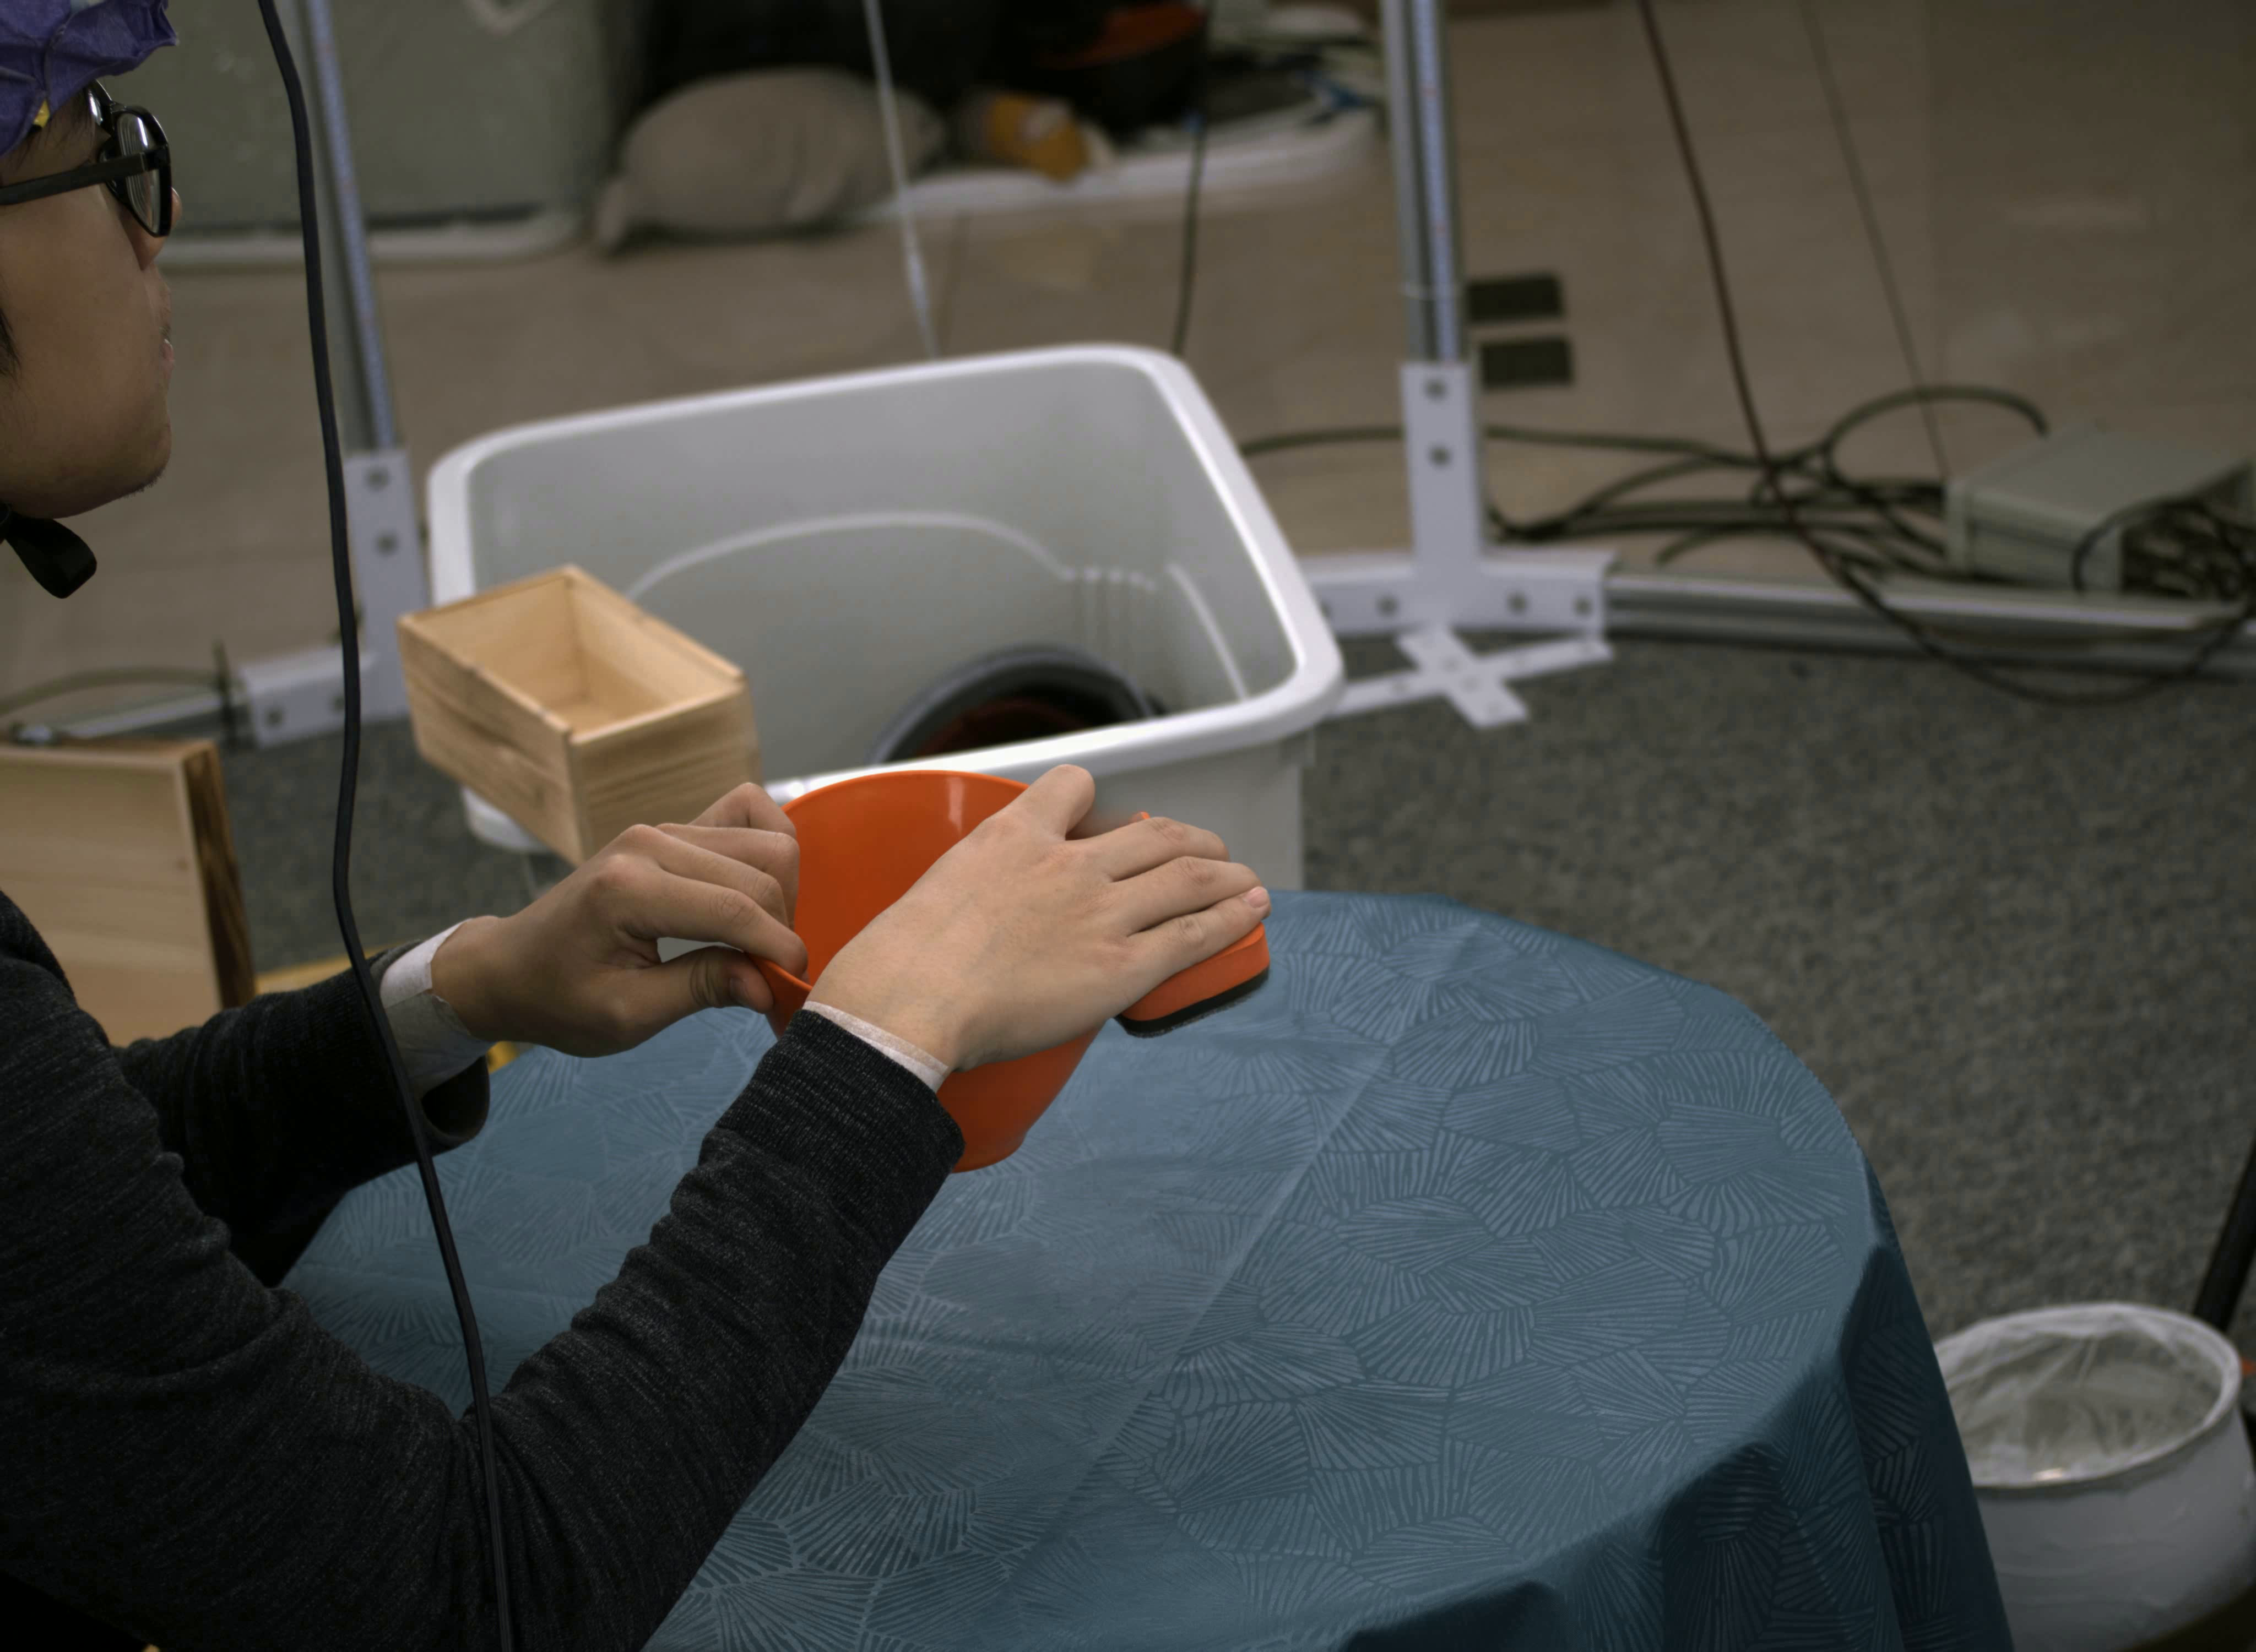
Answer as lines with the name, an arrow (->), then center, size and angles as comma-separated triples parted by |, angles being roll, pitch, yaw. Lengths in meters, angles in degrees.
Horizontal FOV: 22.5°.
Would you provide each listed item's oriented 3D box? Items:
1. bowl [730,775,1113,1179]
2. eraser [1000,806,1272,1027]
bowl -> -0.069, 0.060, 2.027 | 0.148, 0.106, 0.146 | 2, 27, -1
eraser -> 0.002, 0.030, 1.970 | 0.058, 0.023, 0.106 | -21, 33, -19
